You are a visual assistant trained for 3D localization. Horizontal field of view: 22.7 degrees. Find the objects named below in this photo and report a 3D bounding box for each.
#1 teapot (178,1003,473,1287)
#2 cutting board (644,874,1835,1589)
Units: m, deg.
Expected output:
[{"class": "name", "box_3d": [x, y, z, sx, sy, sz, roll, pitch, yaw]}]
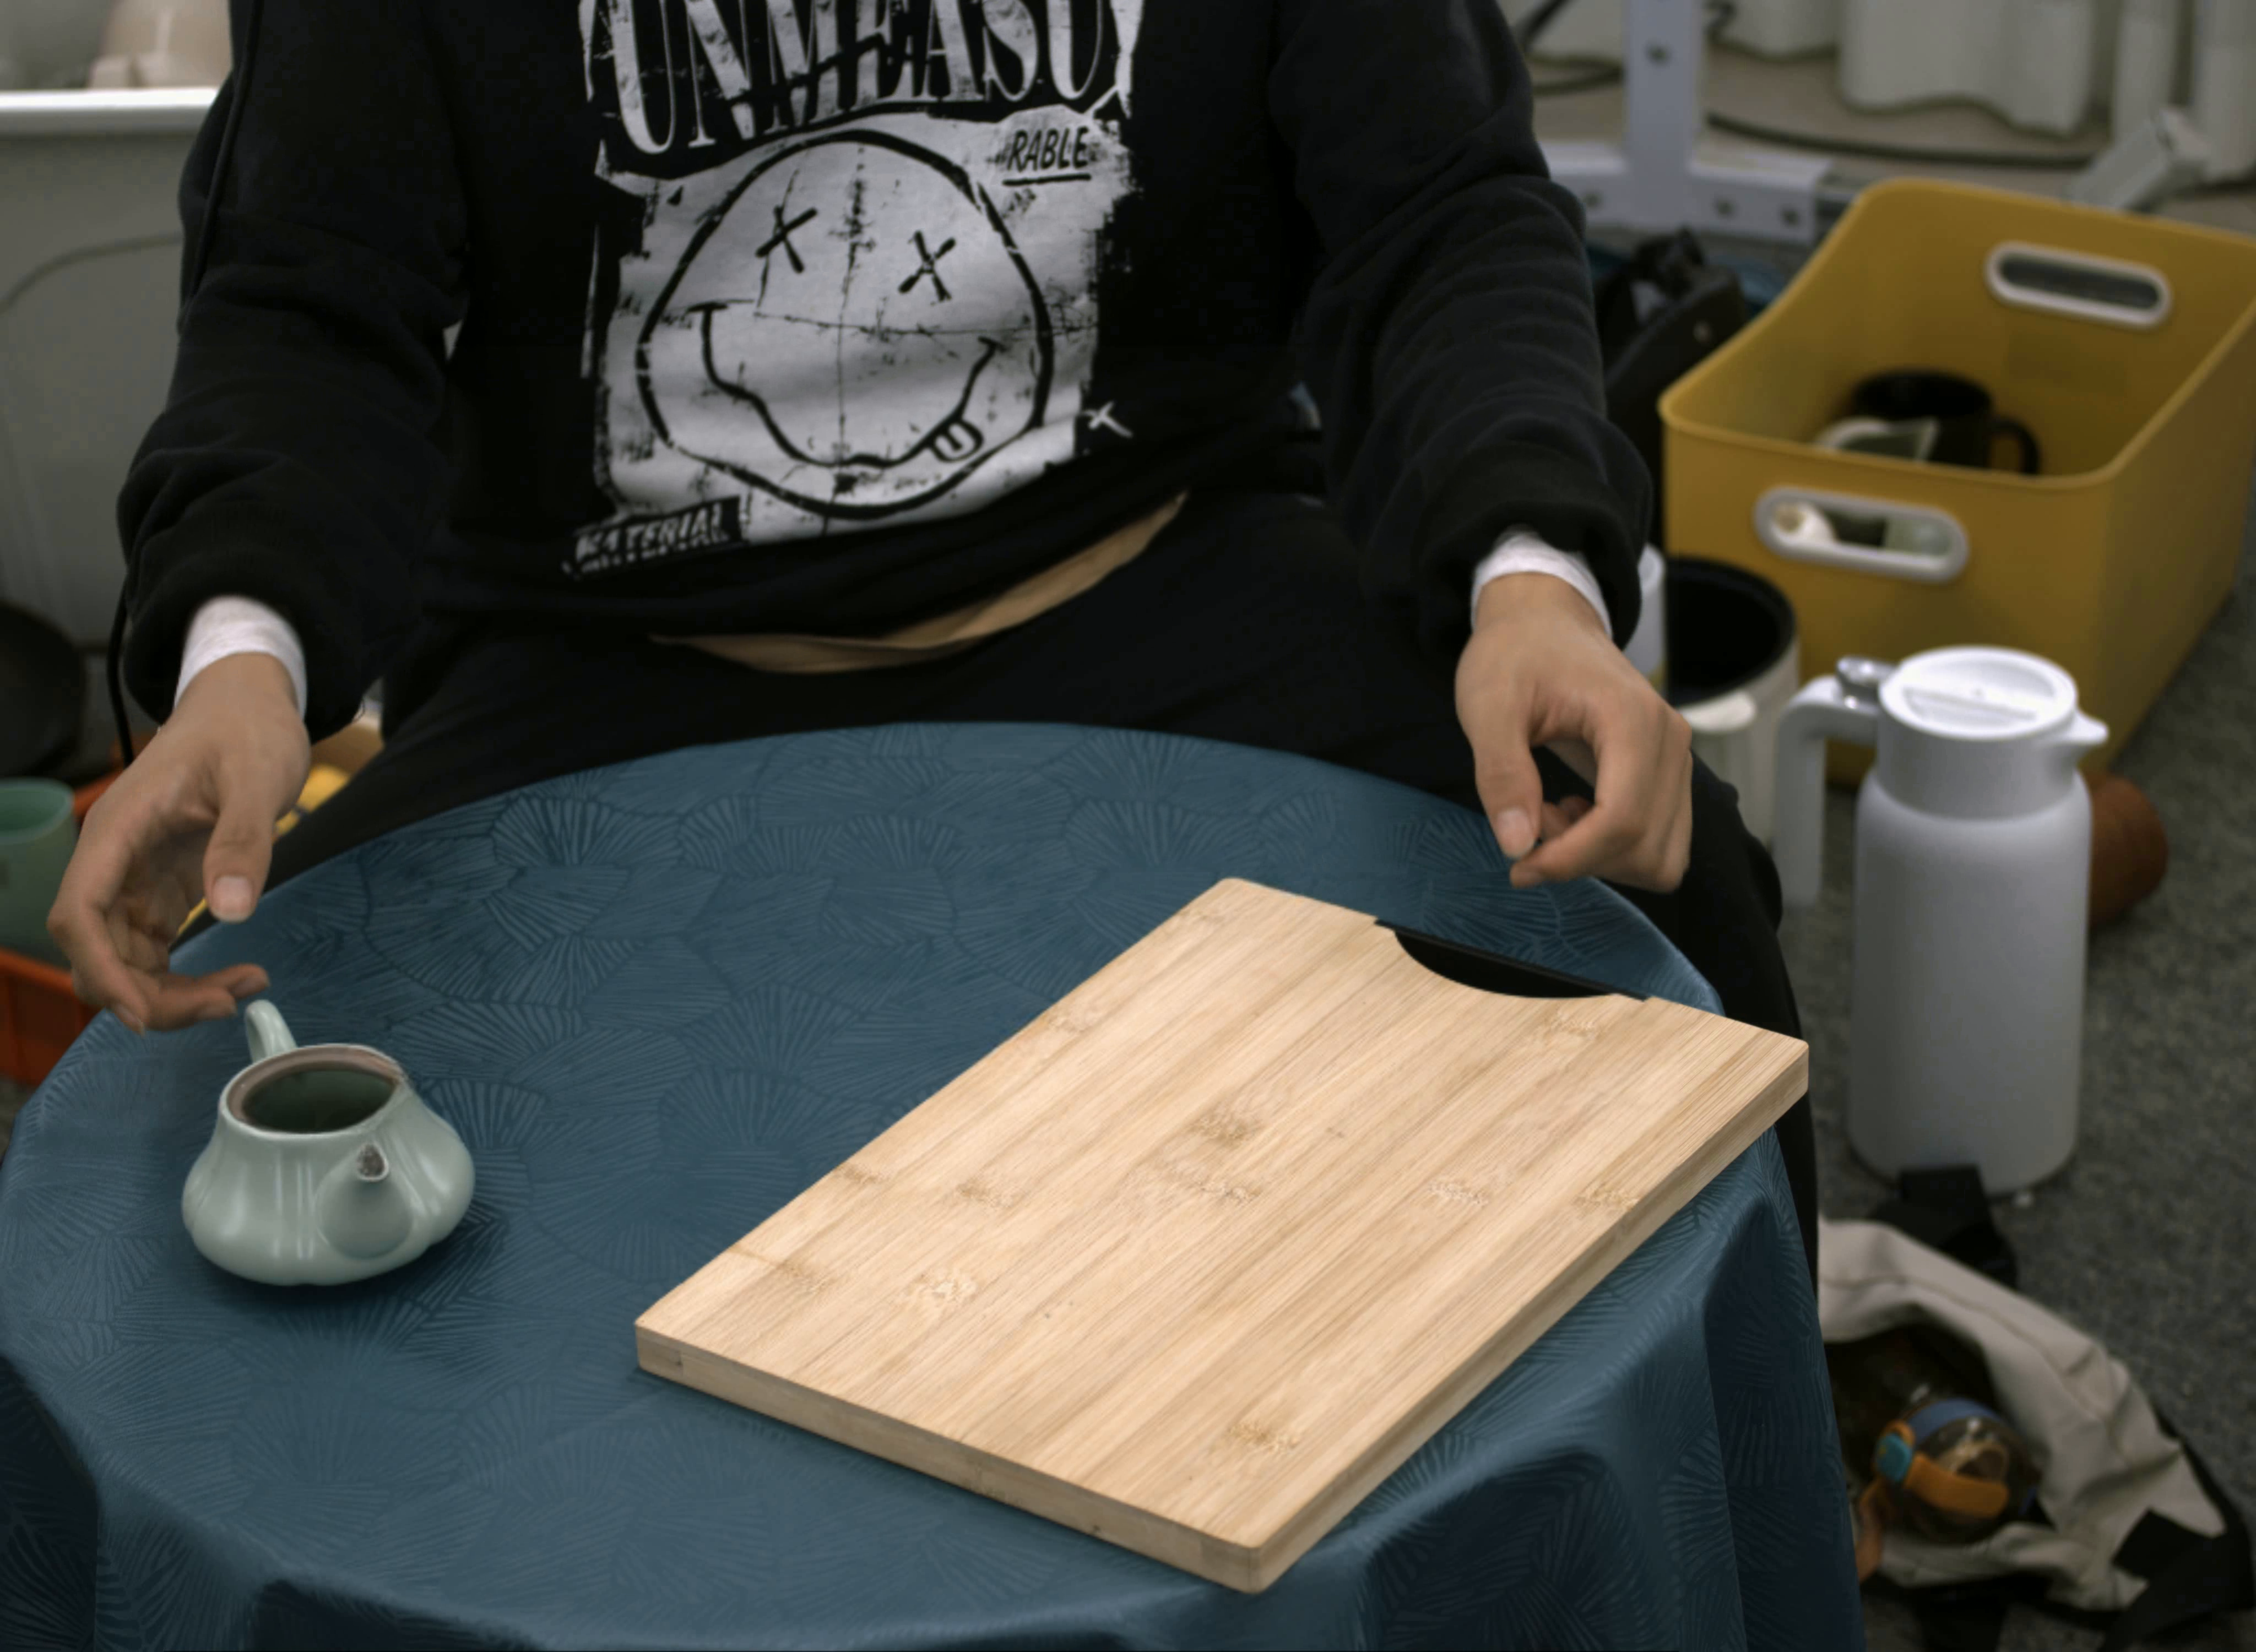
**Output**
[{"class": "teapot", "box_3d": [-0.267, 0.108, 1.846, 0.097, 0.061, 0.137, -17, 31, -23]}, {"class": "cutting board", "box_3d": [0.041, 0.121, 1.838, 0.249, 0.023, 0.354, 15, 32, 30]}]
